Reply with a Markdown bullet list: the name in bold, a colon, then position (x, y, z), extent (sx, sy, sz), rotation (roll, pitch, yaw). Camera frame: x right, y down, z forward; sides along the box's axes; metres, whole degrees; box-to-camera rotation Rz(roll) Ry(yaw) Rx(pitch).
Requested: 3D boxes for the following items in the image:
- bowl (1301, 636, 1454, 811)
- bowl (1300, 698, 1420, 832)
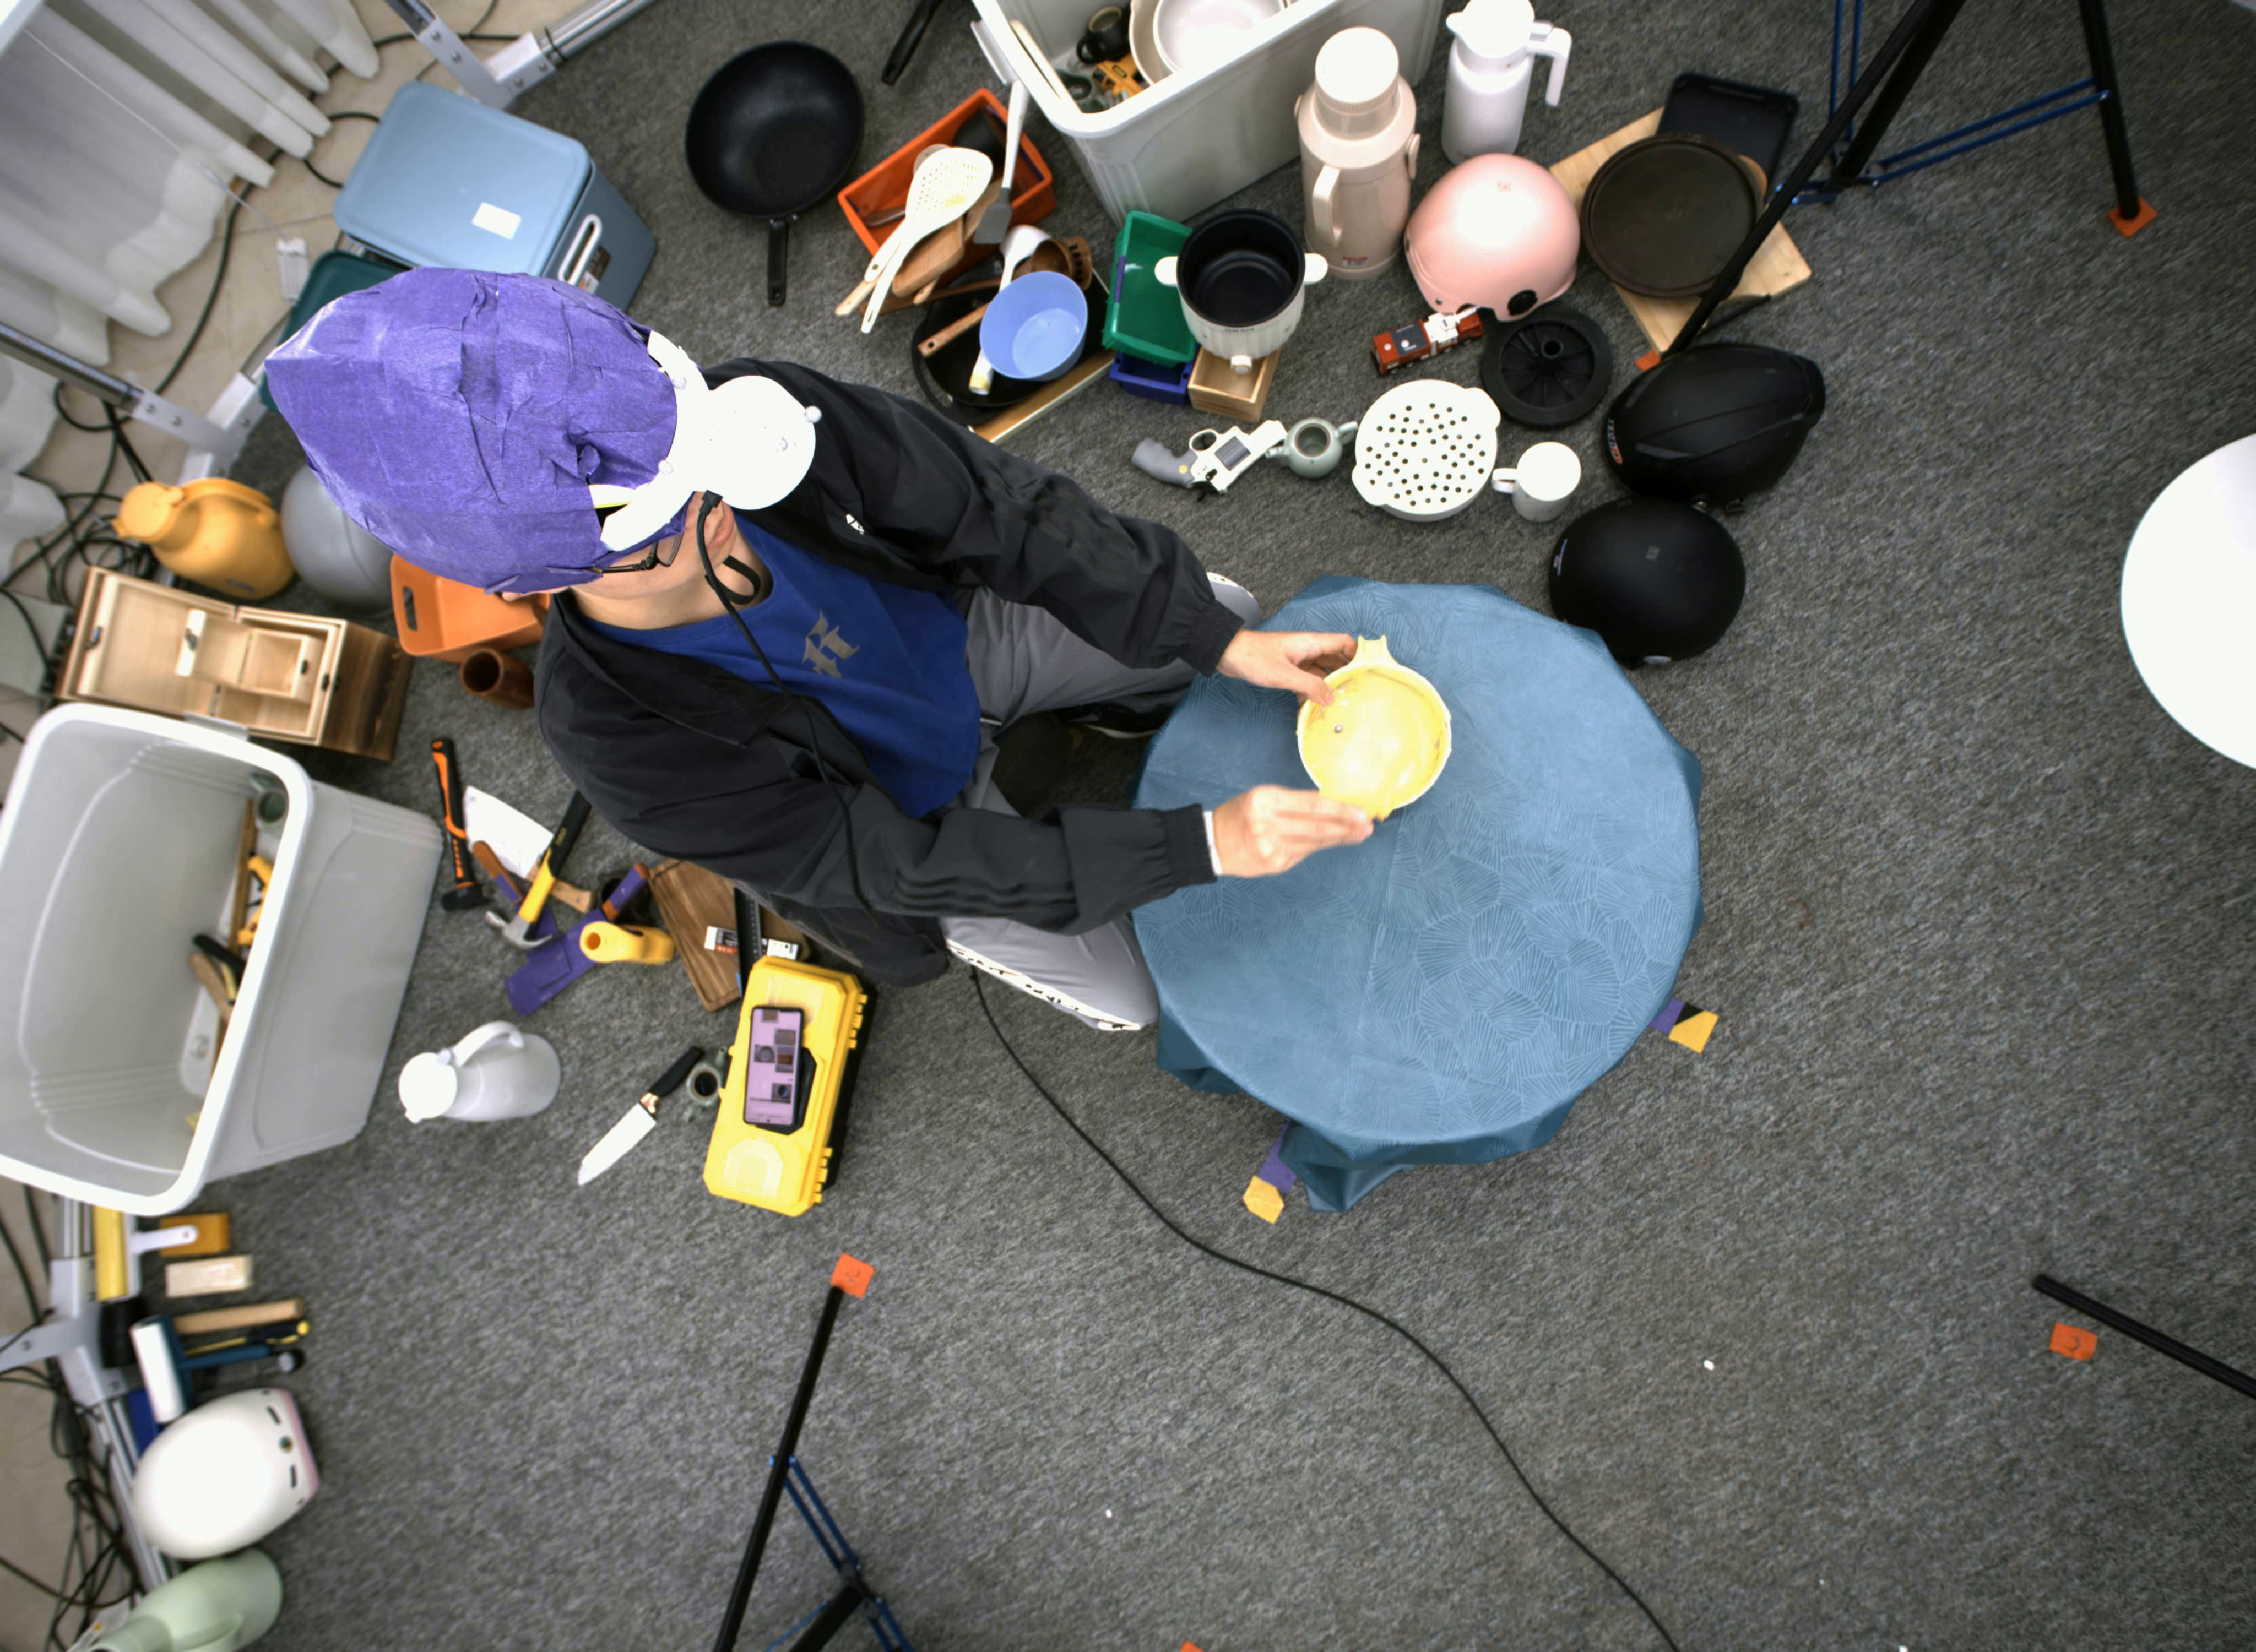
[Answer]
- **bowl**: position (0.253, -0.104, 1.405), extent (0.153, 0.074, 0.179), rotation (-4, 91, 9)
- **bowl**: position (0.226, -0.045, 1.267), extent (0.060, 0.145, 0.145), rotation (38, 92, 10)
